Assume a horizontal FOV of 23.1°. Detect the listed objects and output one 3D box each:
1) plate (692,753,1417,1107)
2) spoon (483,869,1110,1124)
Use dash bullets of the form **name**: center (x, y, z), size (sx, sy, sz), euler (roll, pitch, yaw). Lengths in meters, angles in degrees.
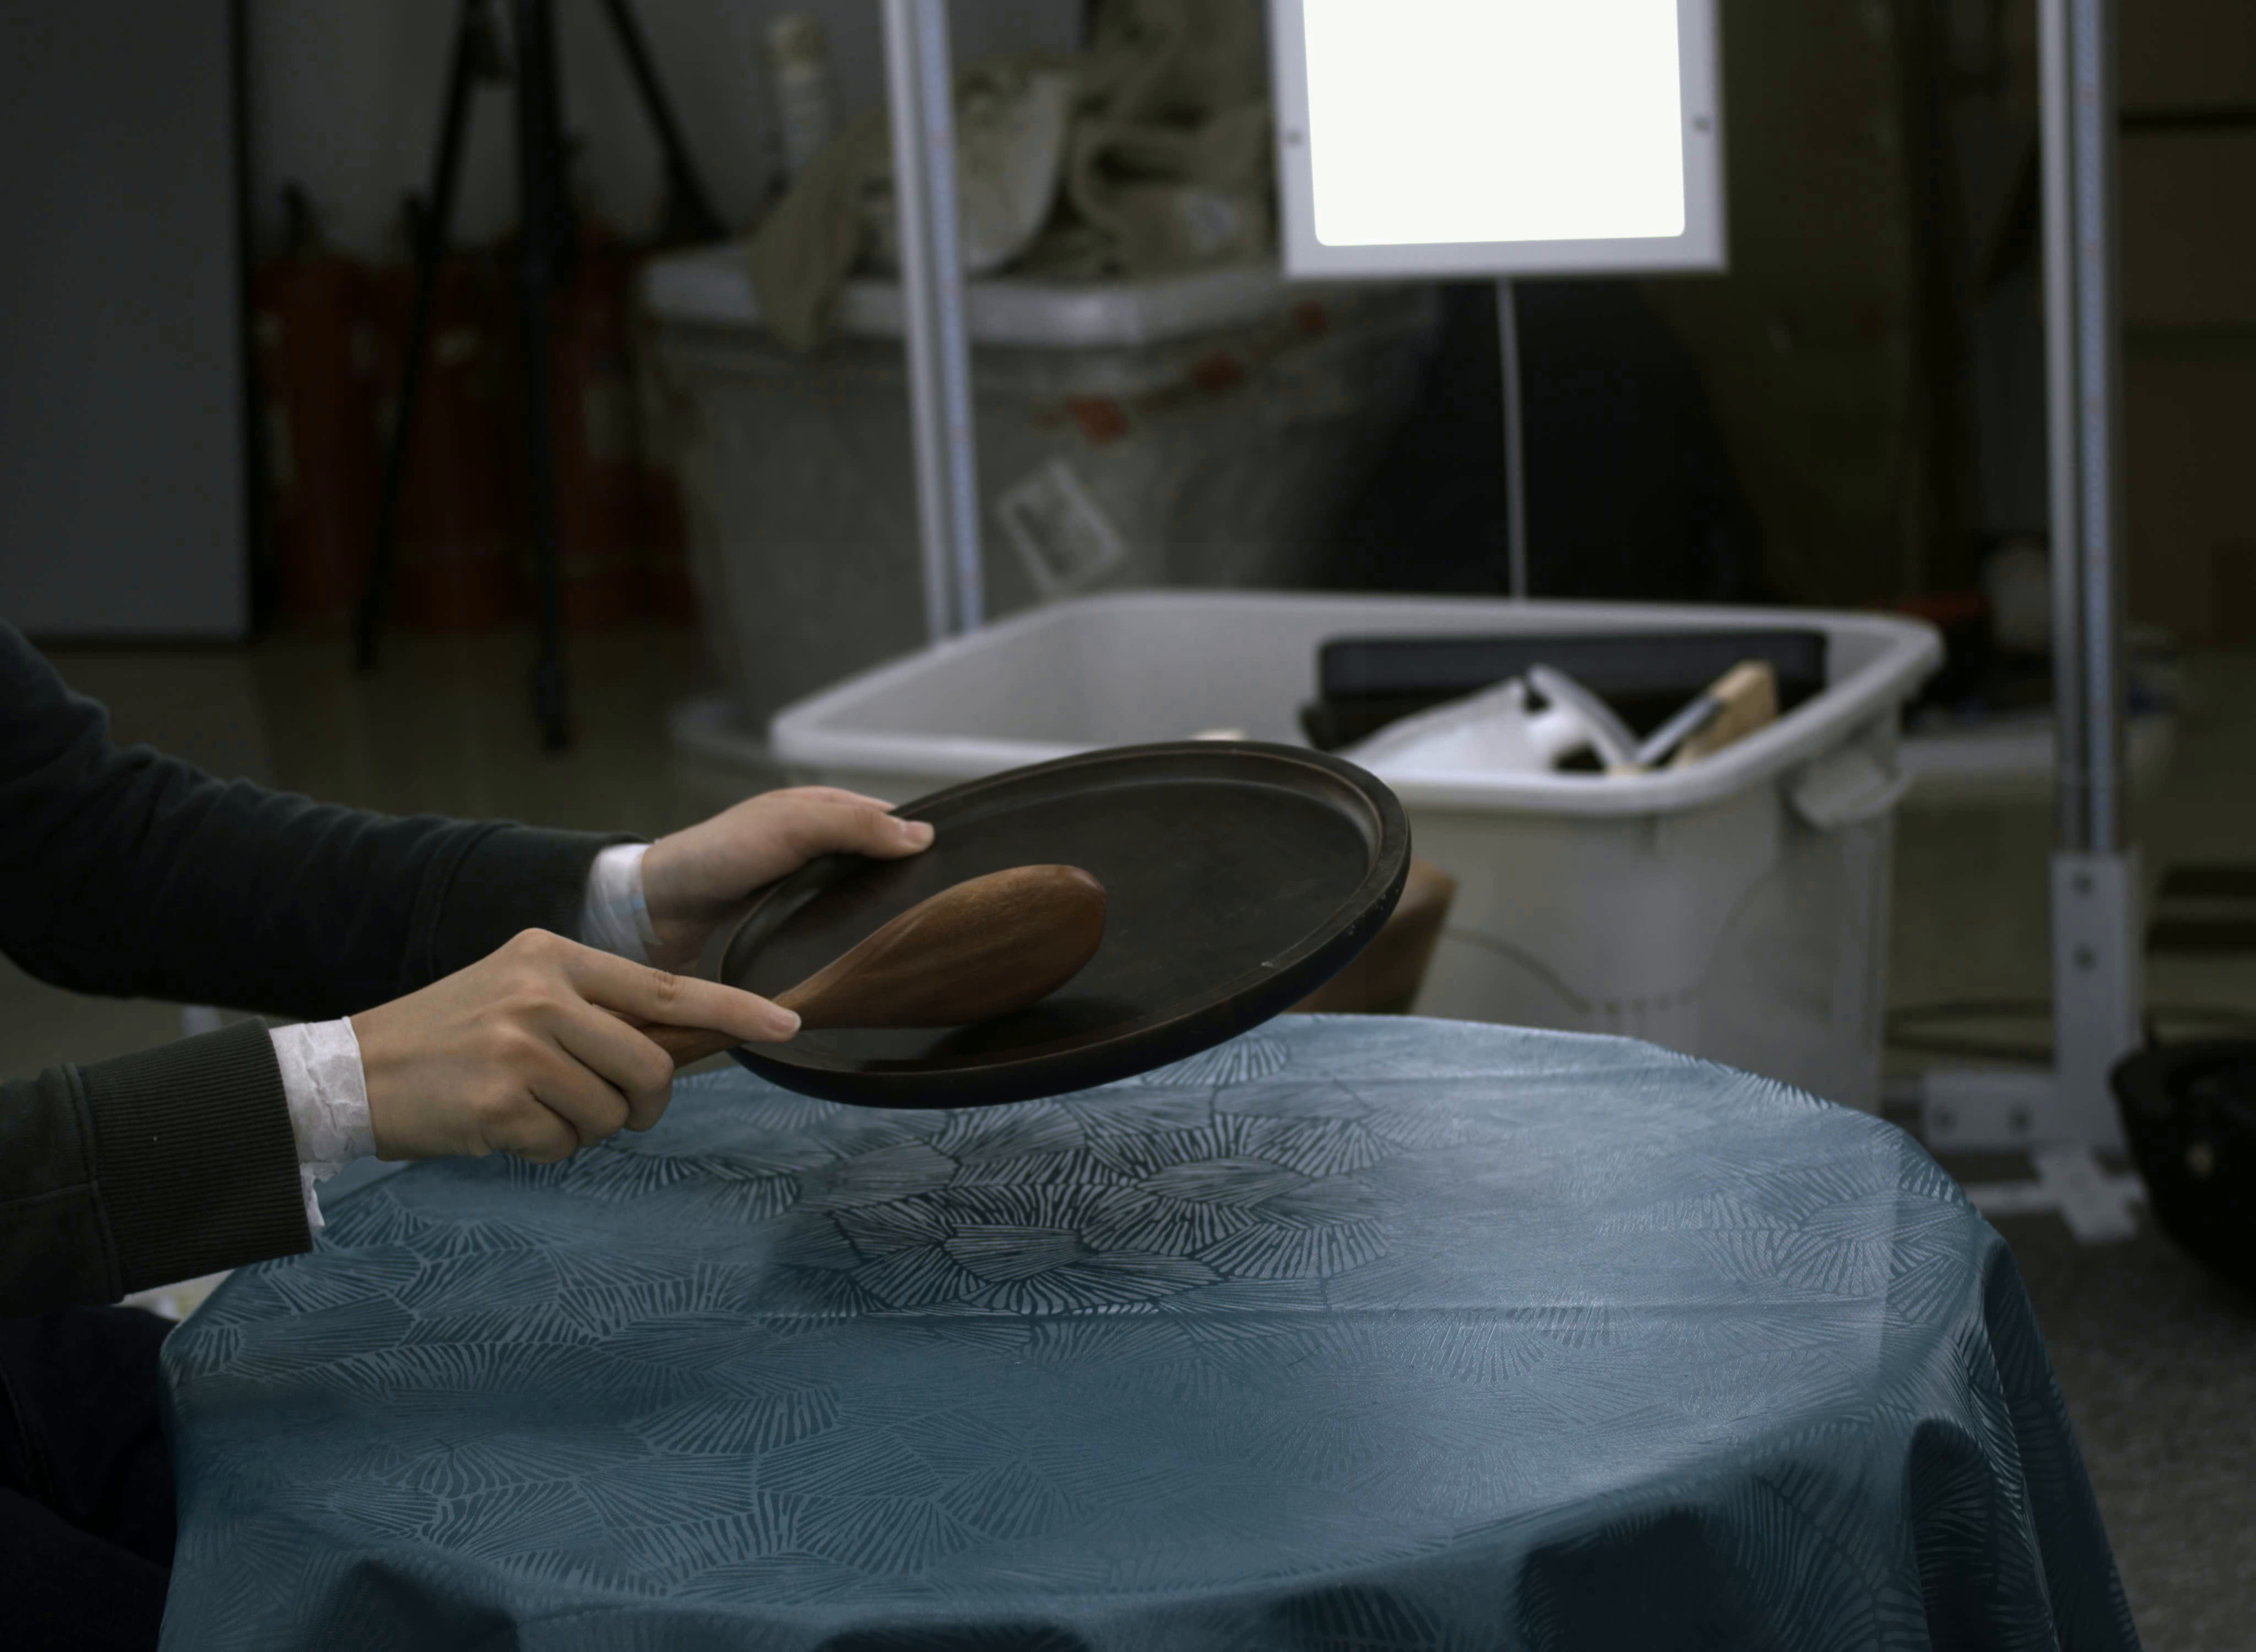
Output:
- **plate**: center (-0.024, 0.033, 1.887), size (0.255, 0.029, 0.254), euler (-12, 22, 4)
- **spoon**: center (-0.105, 0.059, 1.787), size (0.213, 0.076, 0.017), euler (-15, 58, -11)
